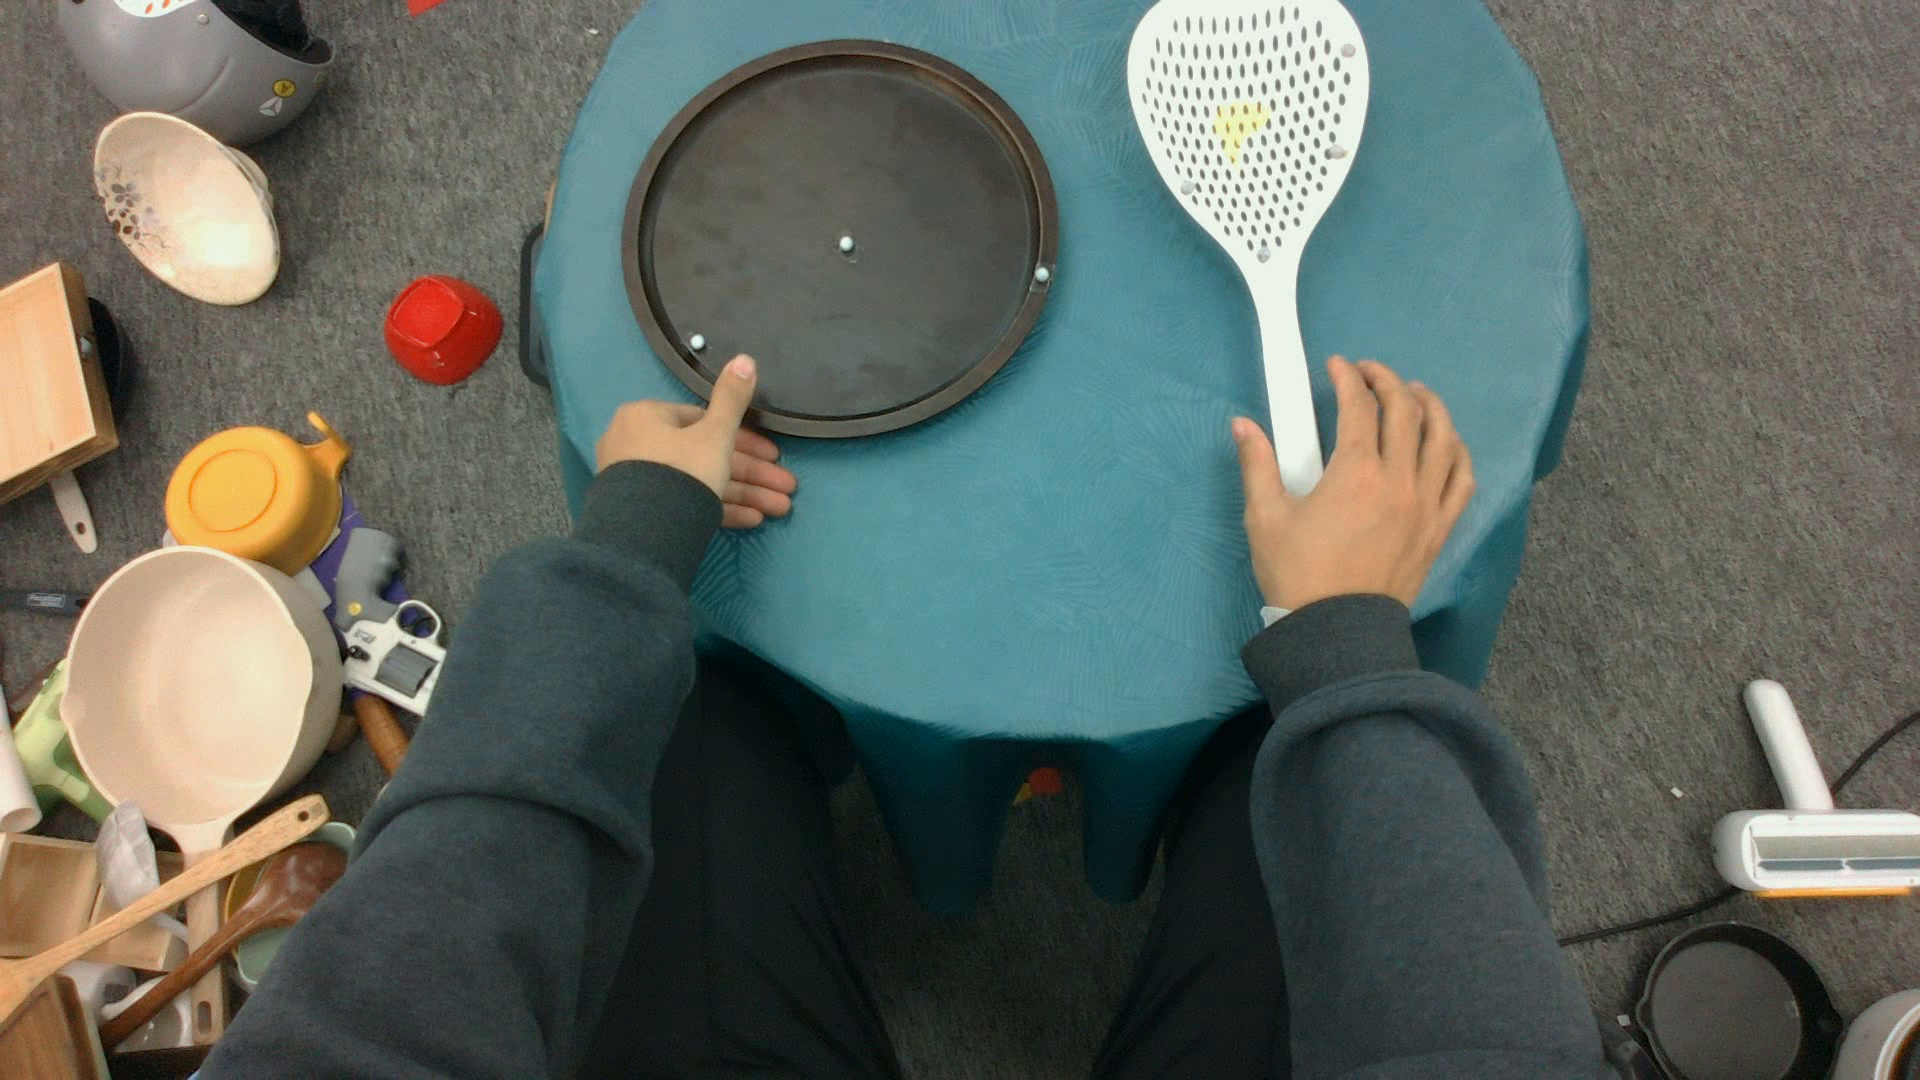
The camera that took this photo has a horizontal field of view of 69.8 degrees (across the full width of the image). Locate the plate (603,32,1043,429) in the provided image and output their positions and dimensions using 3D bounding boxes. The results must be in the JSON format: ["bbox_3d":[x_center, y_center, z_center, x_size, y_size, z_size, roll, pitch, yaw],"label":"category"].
[{"bbox_3d":[-0.079,-0.181,0.796,0.255,0.029,0.255,0,74,1],"label":"plate"}]

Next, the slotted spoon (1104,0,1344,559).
[{"bbox_3d":[0.163,-0.162,0.772,0.137,0.050,0.348,-6,74,-2],"label":"slotted spoon"}]
